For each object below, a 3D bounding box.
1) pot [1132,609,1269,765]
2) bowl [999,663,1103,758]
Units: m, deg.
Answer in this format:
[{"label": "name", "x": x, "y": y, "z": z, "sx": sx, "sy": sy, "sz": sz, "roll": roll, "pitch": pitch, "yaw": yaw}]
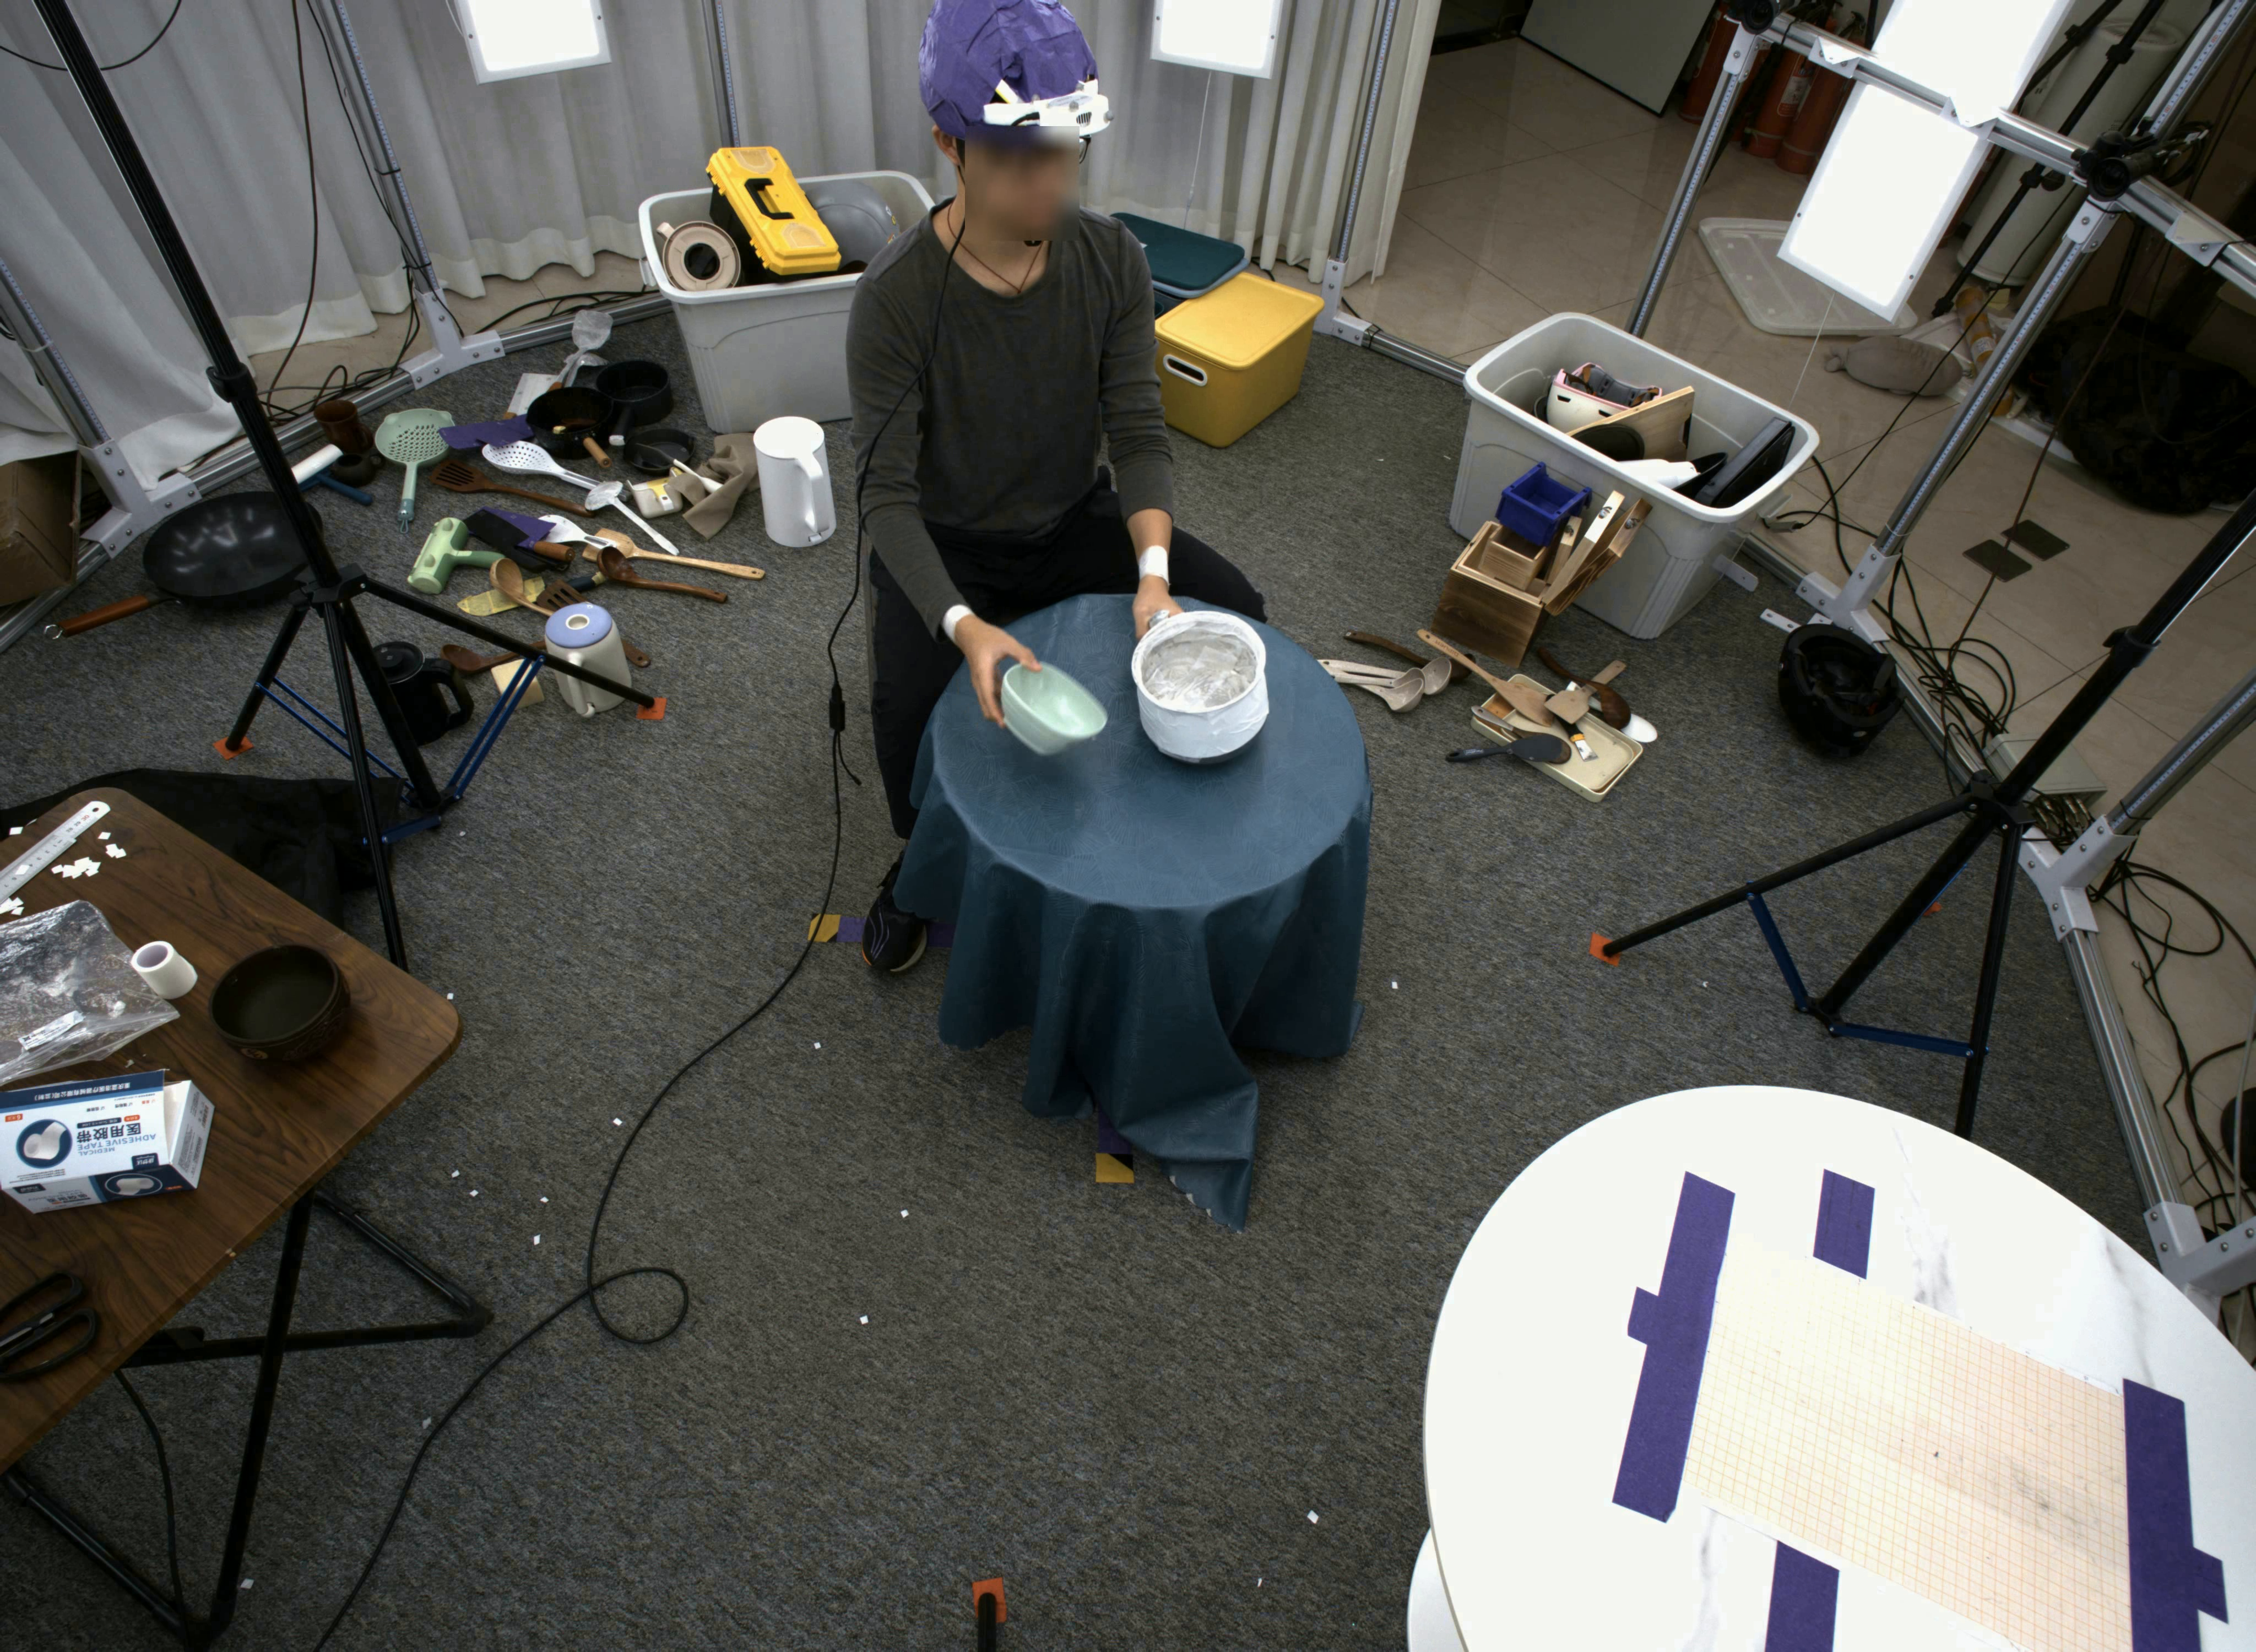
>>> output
[{"label": "pot", "x": 0.087, "y": -0.201, "z": 1.746, "sx": 0.179, "sy": 0.133, "sz": 0.239, "roll": -27, "pitch": 55, "yaw": -11}, {"label": "bowl", "x": -0.110, "y": -0.141, "z": 1.660, "sx": 0.150, "sy": 0.058, "sz": 0.155, "roll": 28, "pitch": 34, "yaw": -21}]
